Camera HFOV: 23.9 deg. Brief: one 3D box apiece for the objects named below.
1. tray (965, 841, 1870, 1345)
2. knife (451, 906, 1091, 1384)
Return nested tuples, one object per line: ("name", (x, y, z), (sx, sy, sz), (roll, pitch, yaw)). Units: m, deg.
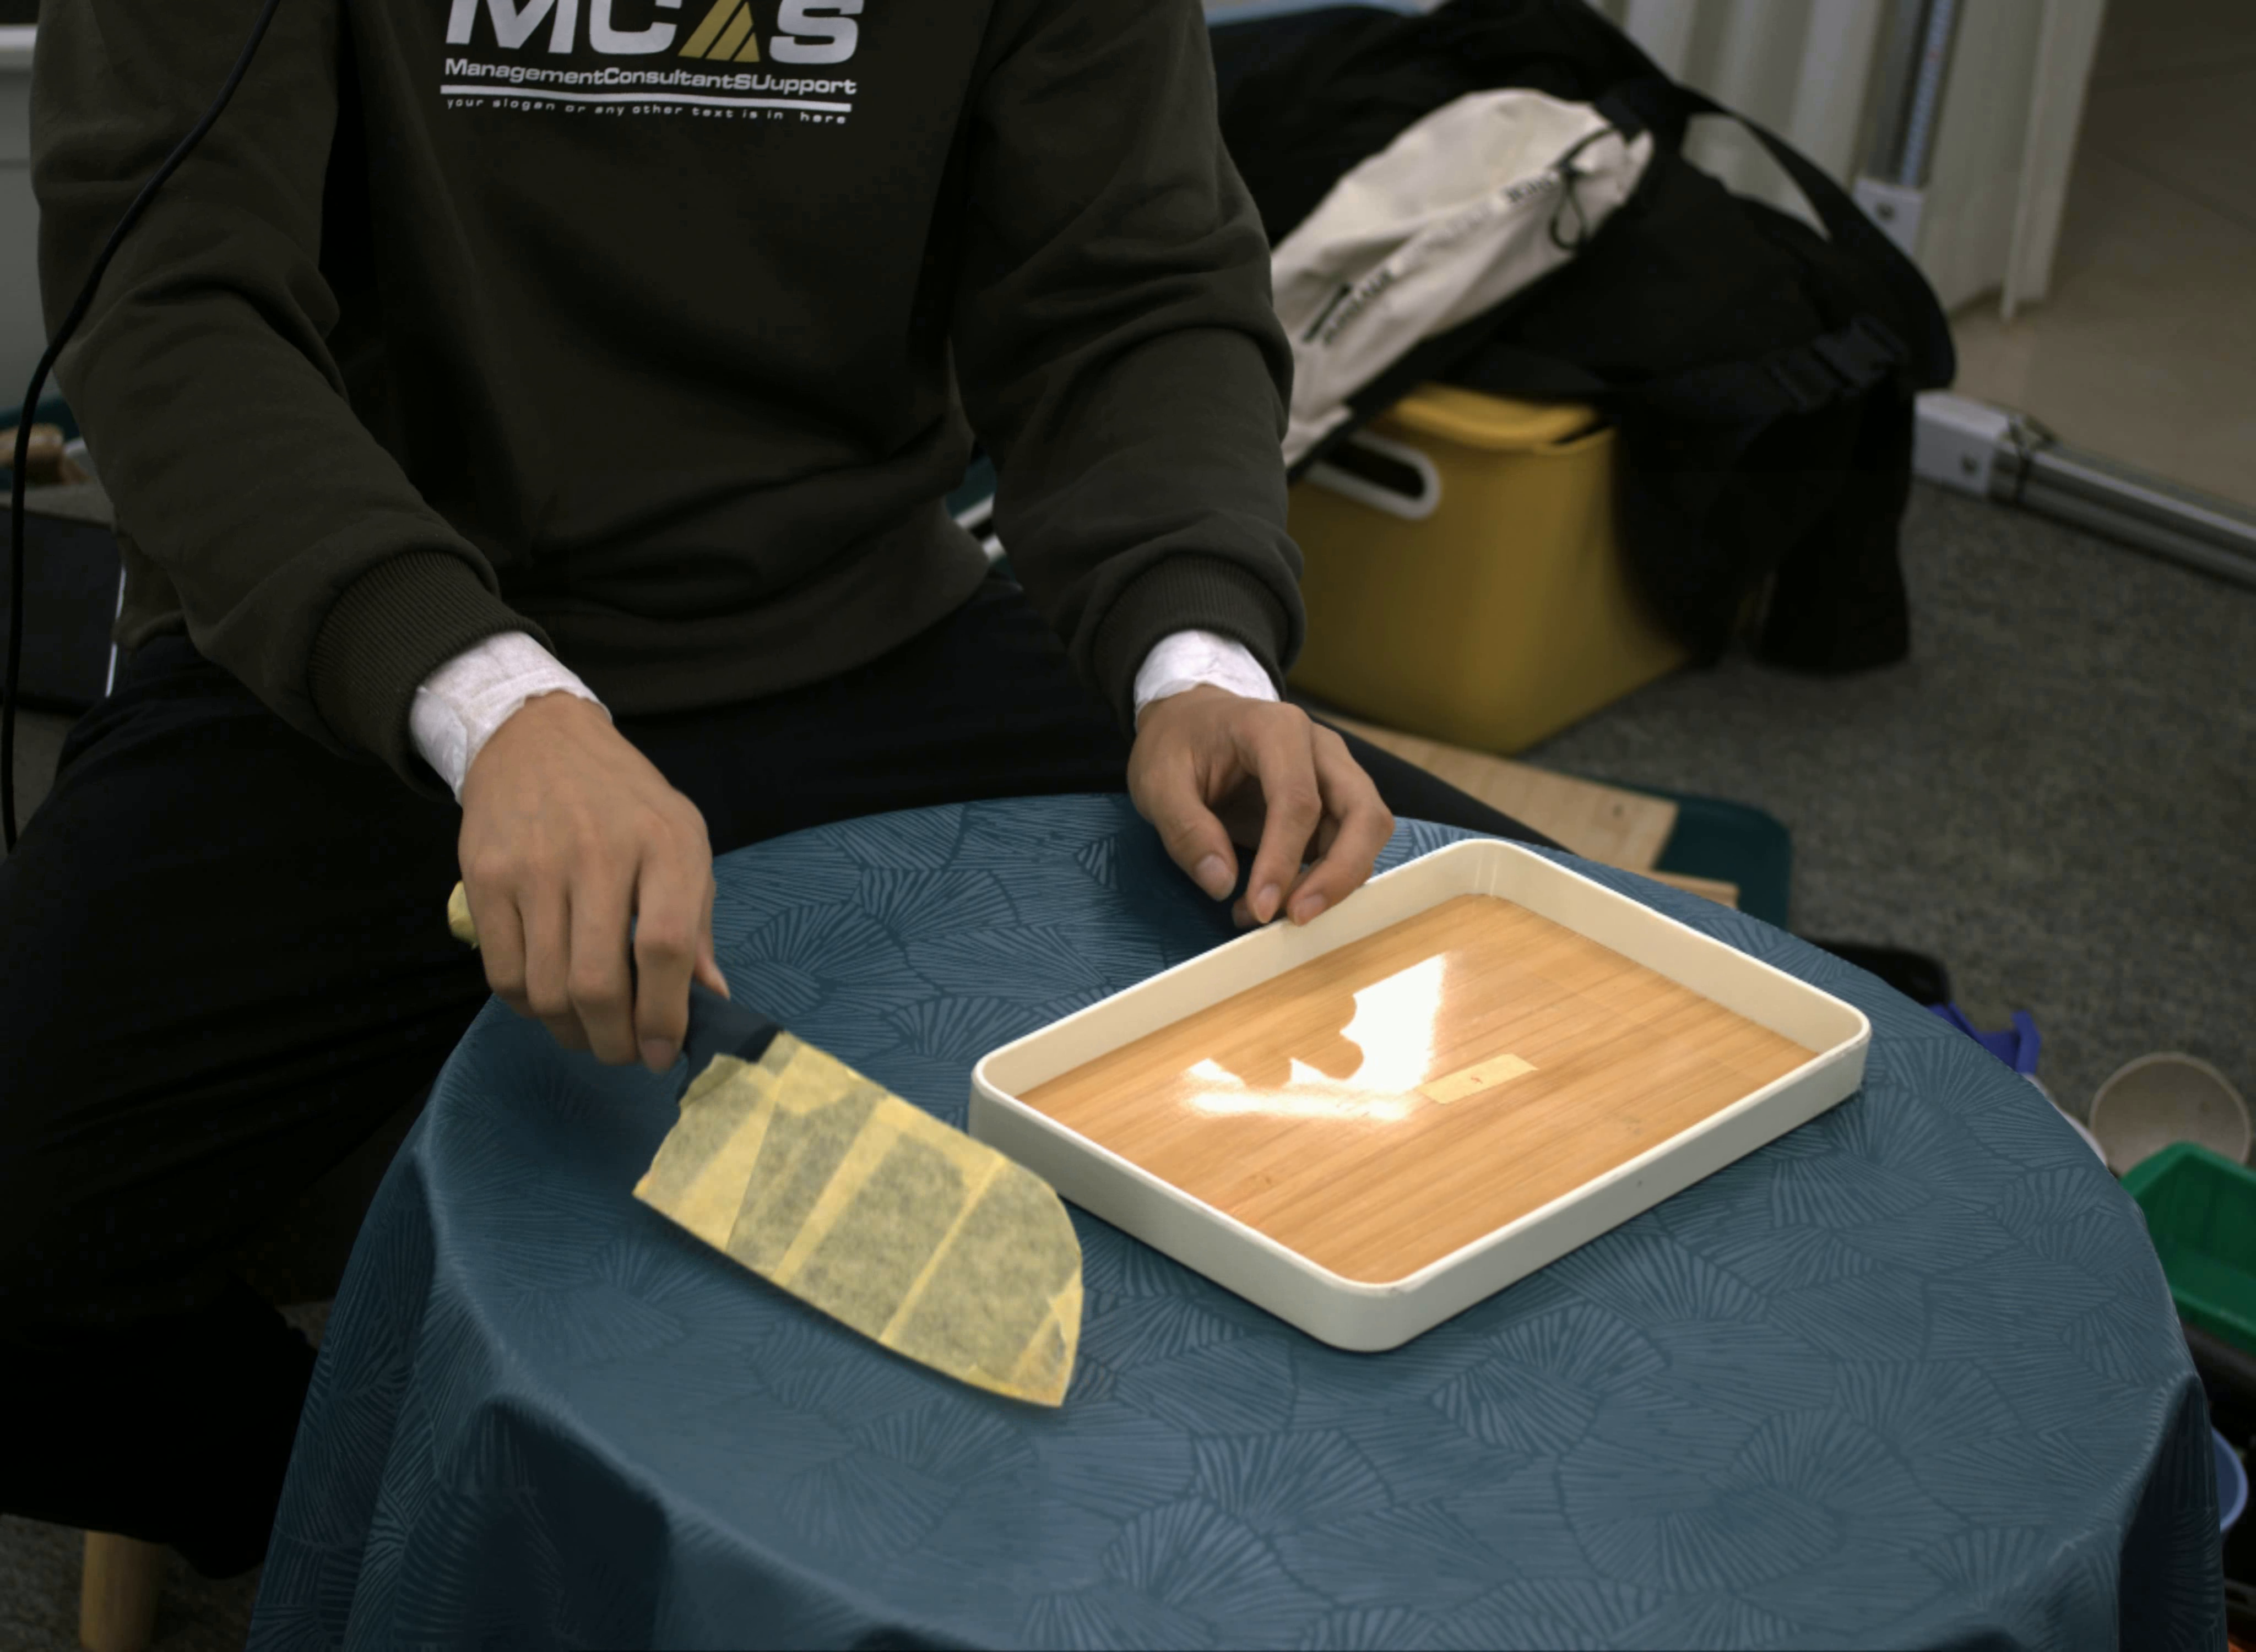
("tray", (0.105, 0.088, 1.870), (0.193, 0.027, 0.299), (26, 32, 35))
("knife", (-0.124, 0.103, 1.744), (0.291, 0.027, 0.081), (30, 74, 30))
